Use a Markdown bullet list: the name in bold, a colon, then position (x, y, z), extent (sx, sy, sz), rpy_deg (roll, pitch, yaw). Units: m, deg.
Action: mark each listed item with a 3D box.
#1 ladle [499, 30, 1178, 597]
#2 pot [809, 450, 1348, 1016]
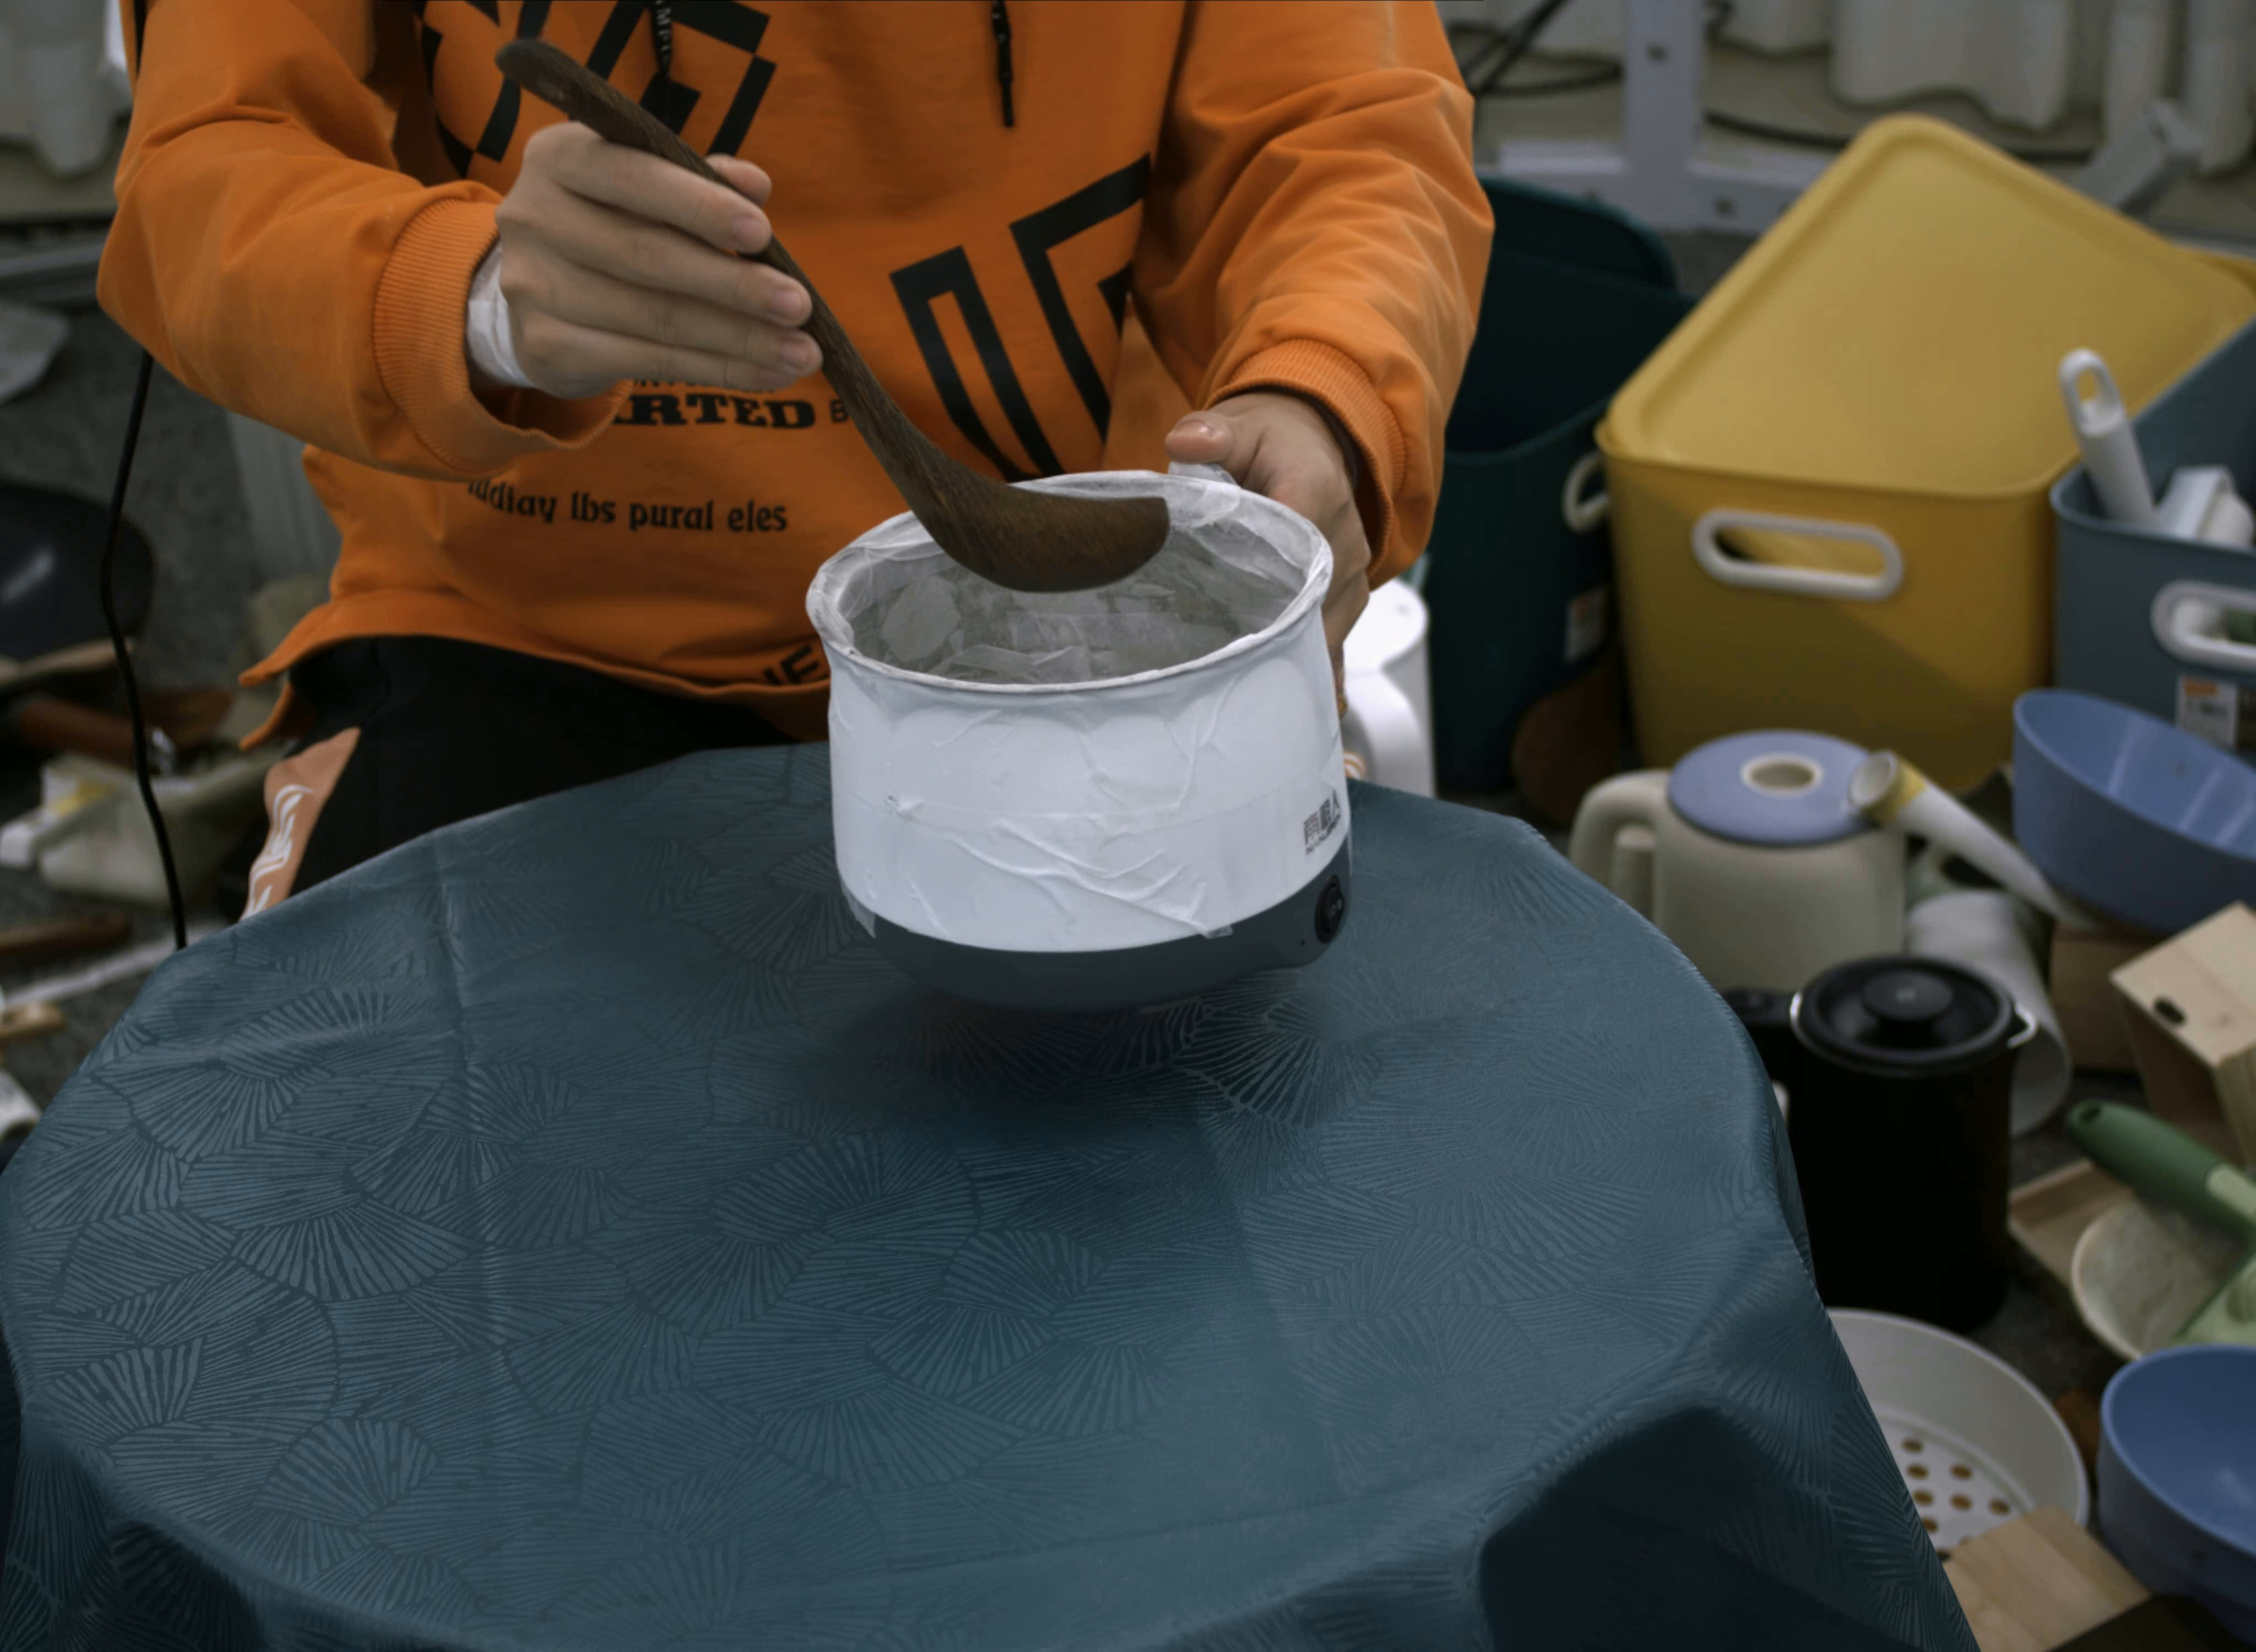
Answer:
- **ladle**: position (-0.092, -0.178, 1.873), extent (0.072, 0.273, 0.075), rpy_deg (-50, 14, -30)
- **pot**: position (-0.004, -0.039, 1.931), extent (0.177, 0.135, 0.237), rpy_deg (7, 28, 22)
